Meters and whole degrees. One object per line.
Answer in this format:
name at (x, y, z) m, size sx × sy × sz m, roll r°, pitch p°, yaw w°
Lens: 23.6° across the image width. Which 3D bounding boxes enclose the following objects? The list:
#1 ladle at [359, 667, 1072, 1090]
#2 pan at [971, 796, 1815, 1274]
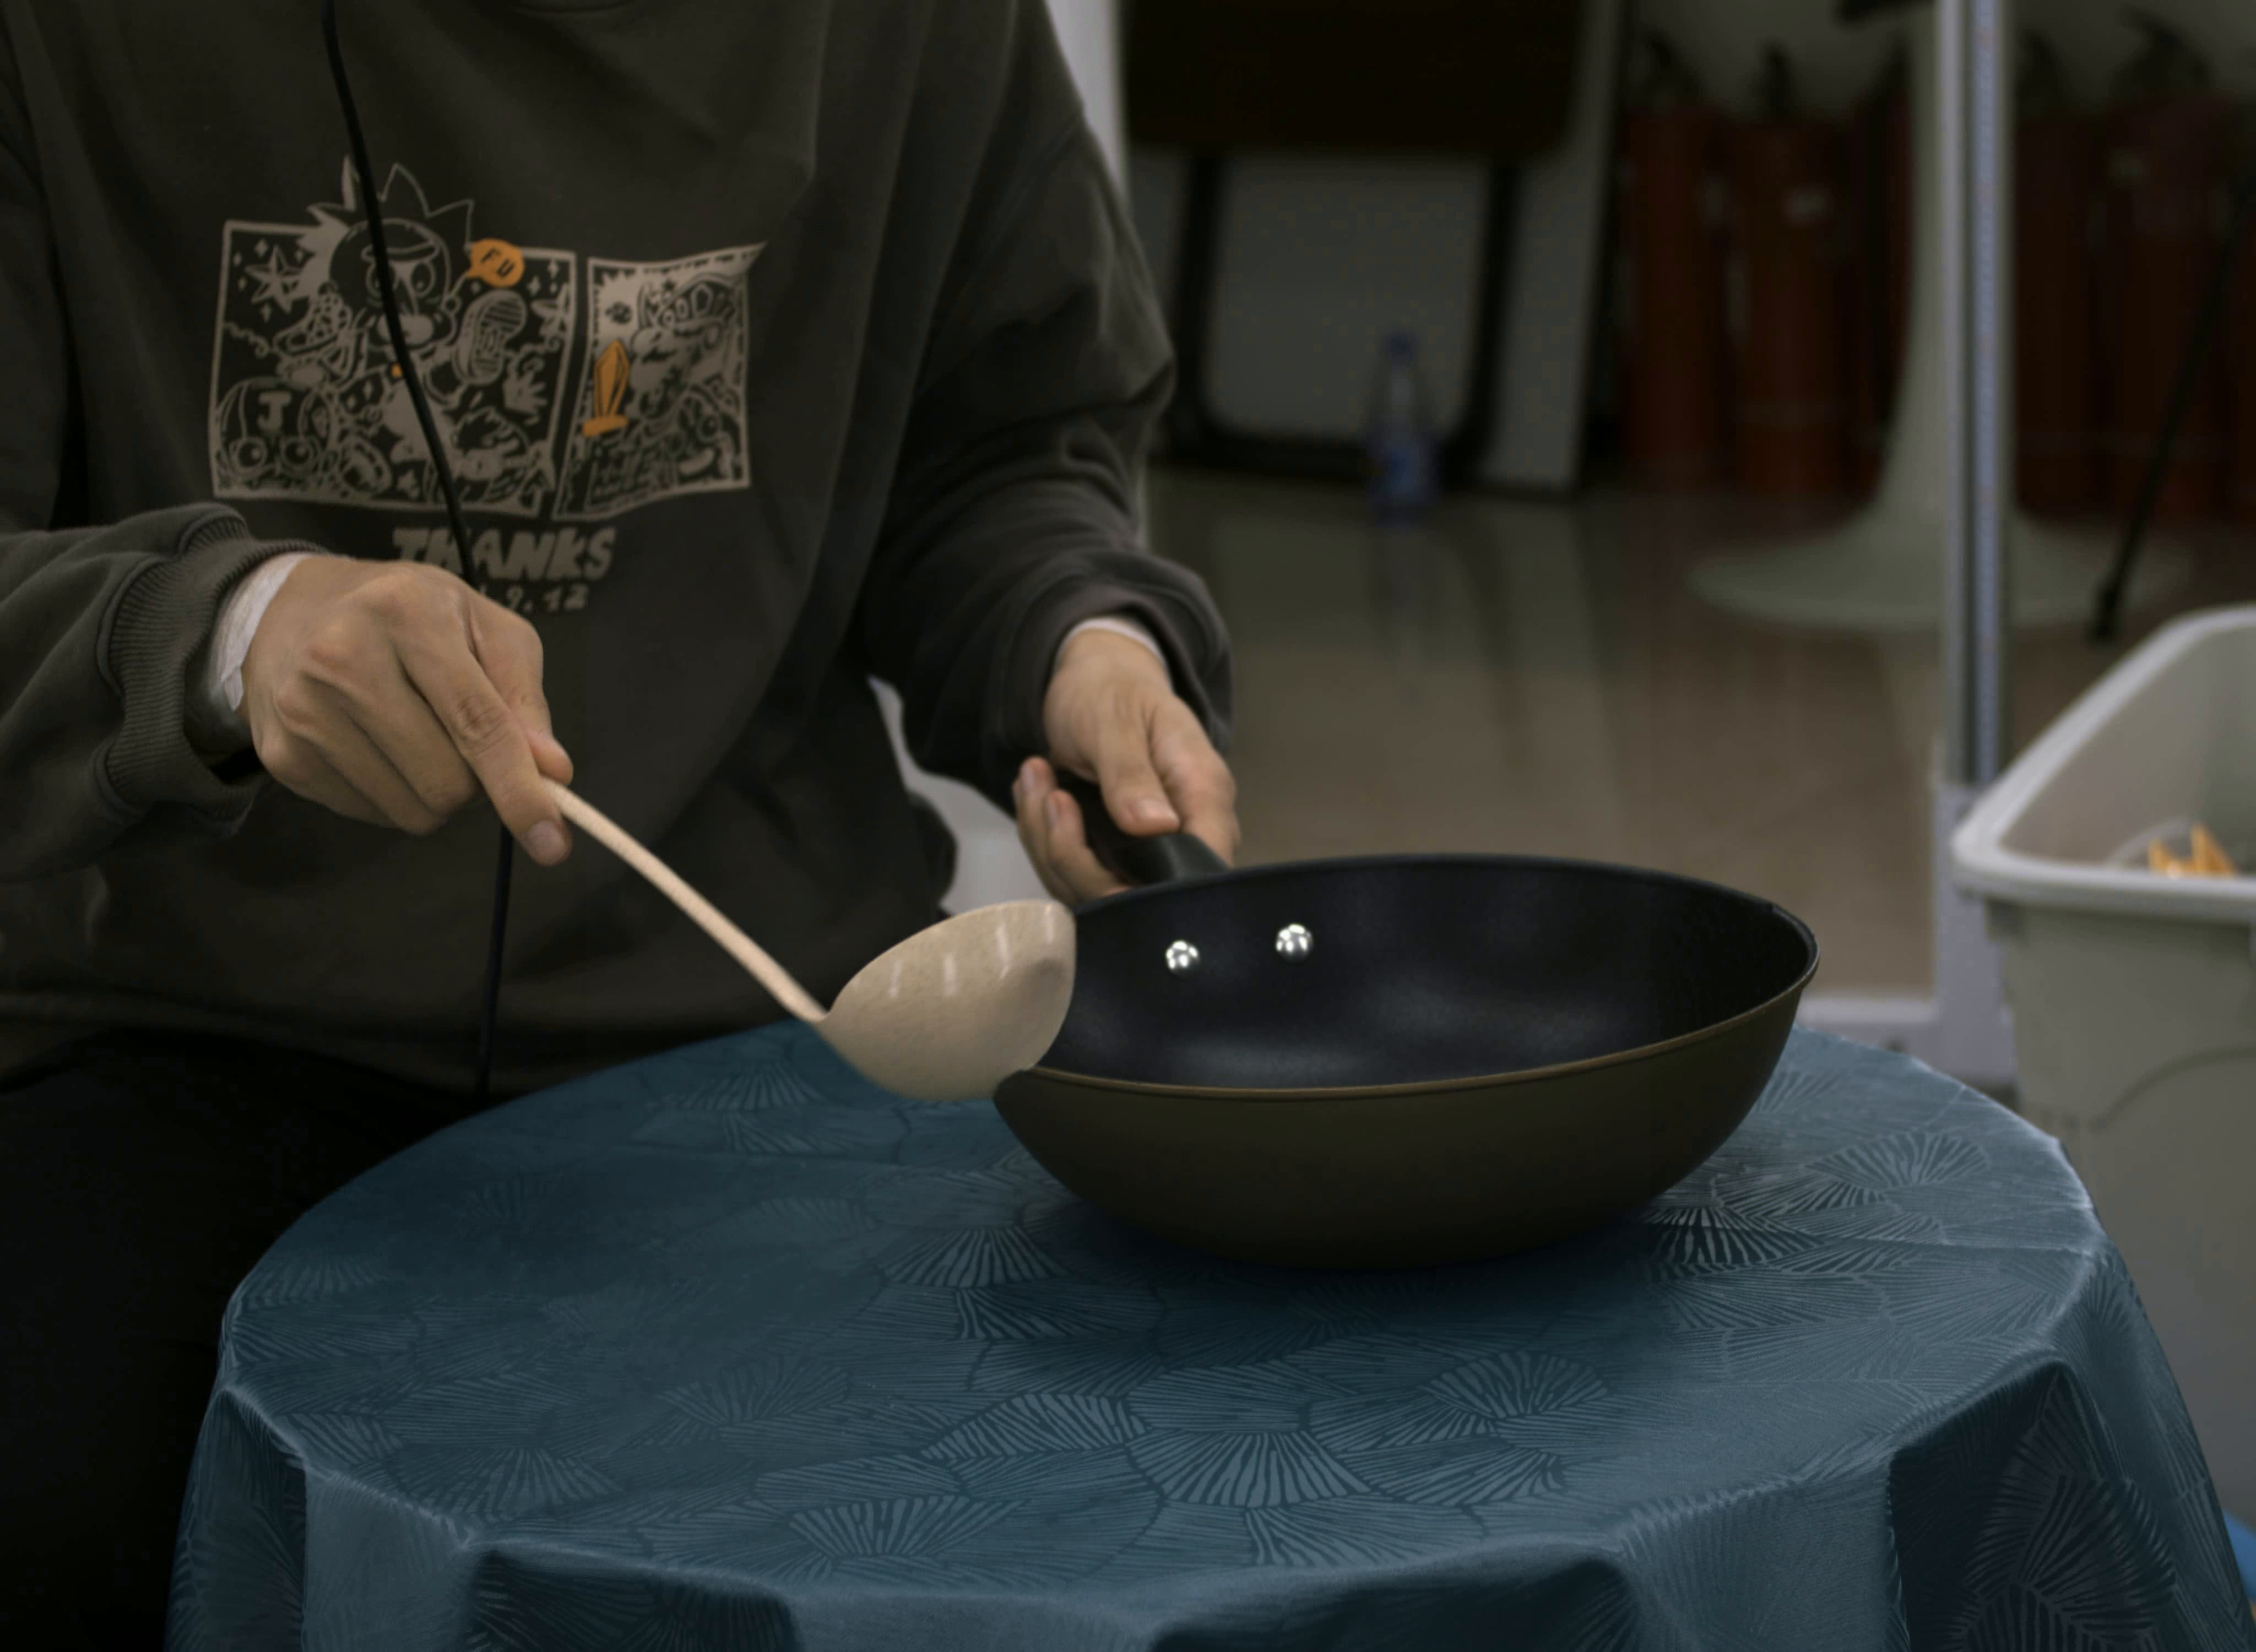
ladle at (-0.120, -0.011, 1.562) m, size 0.256 × 0.073 × 0.071 m, roll 36°, pitch 7°, yaw 29°
pan at (0.050, 0.066, 1.816) m, size 0.282 × 0.088 × 0.467 m, roll -9°, pitch 13°, yaw -19°
